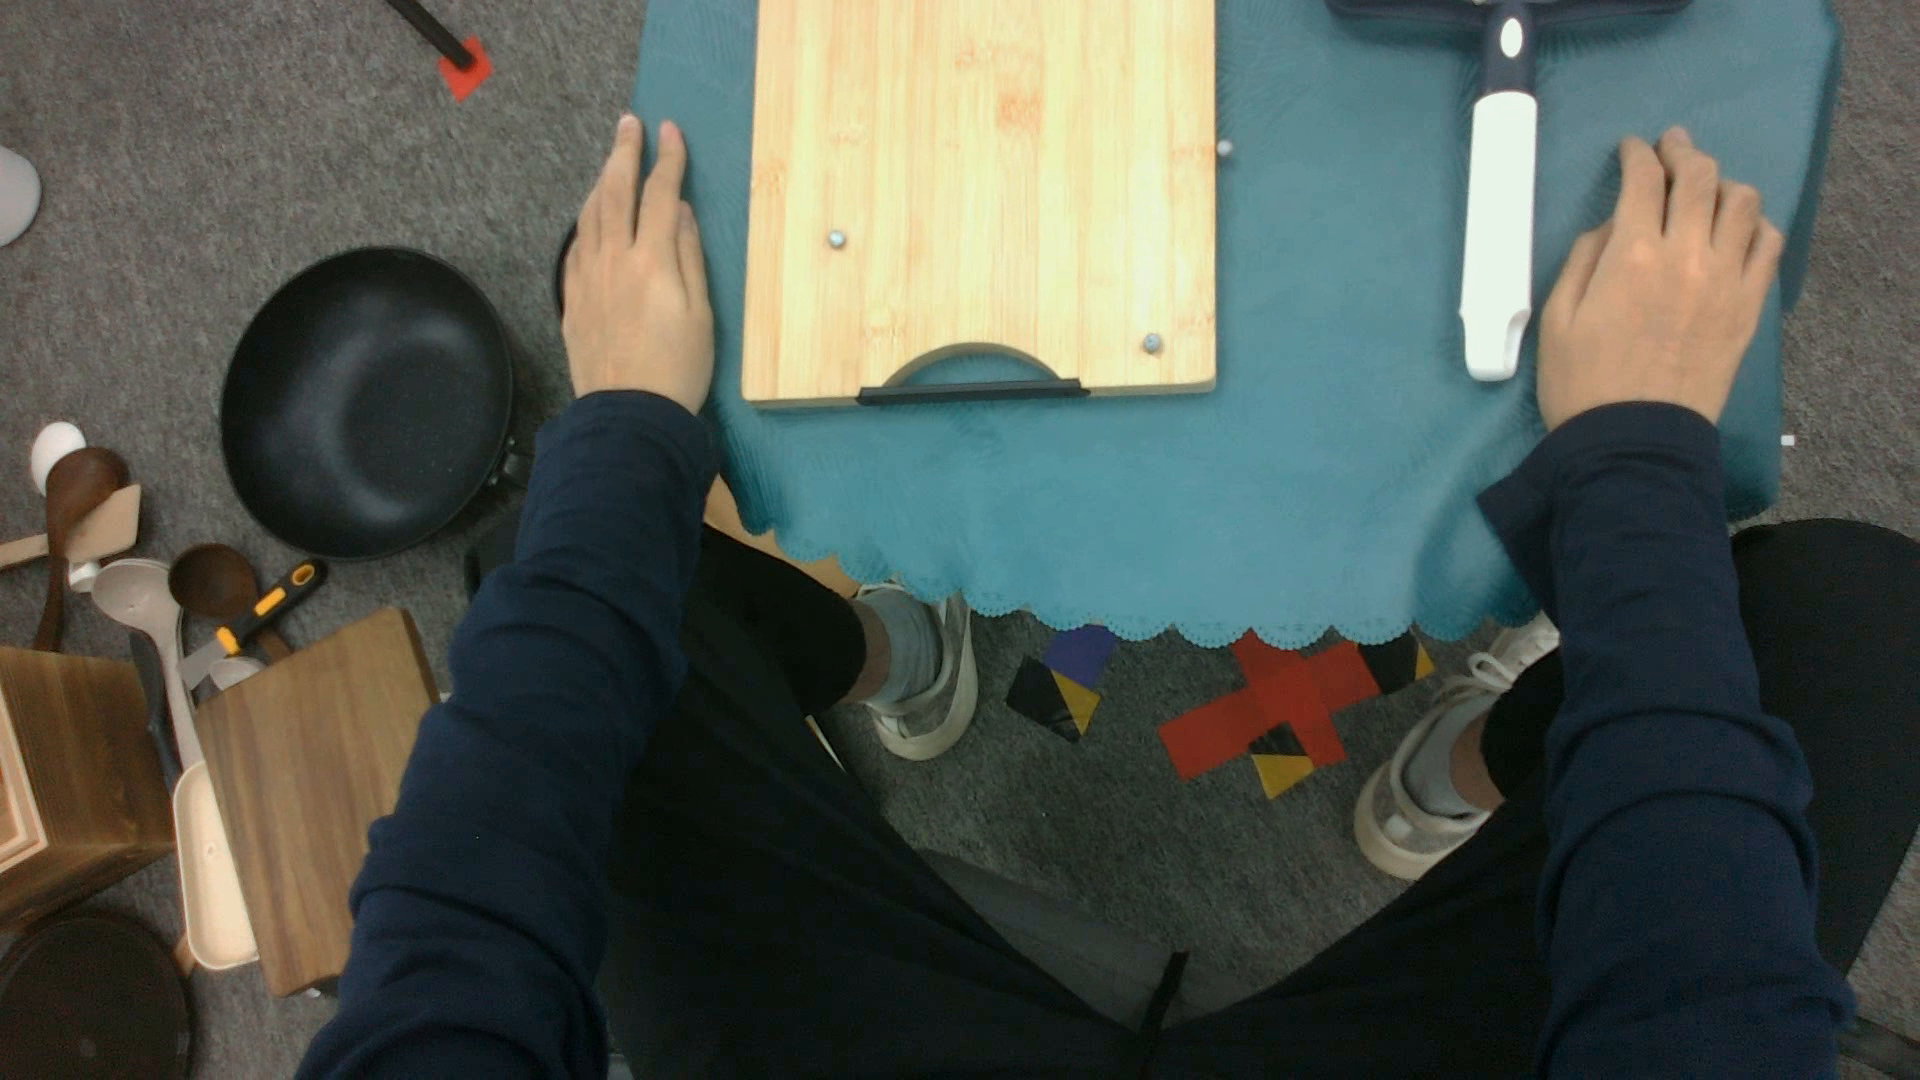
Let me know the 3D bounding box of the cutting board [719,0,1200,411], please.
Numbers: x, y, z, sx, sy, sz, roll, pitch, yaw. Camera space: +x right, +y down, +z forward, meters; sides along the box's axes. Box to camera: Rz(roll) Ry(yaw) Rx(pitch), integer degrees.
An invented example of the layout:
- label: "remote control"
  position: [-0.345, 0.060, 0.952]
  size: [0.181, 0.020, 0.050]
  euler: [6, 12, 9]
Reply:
- label: "cutting board"
  position: [0.001, -0.239, 0.718]
  size: [0.250, 0.023, 0.349]
  euler: [-2, 79, 11]

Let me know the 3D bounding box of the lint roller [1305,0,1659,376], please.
- label: "lint roller"
  position: [0.247, -0.201, 0.650]
  size: [0.176, 0.050, 0.247]
  euler: [3, 82, 10]
